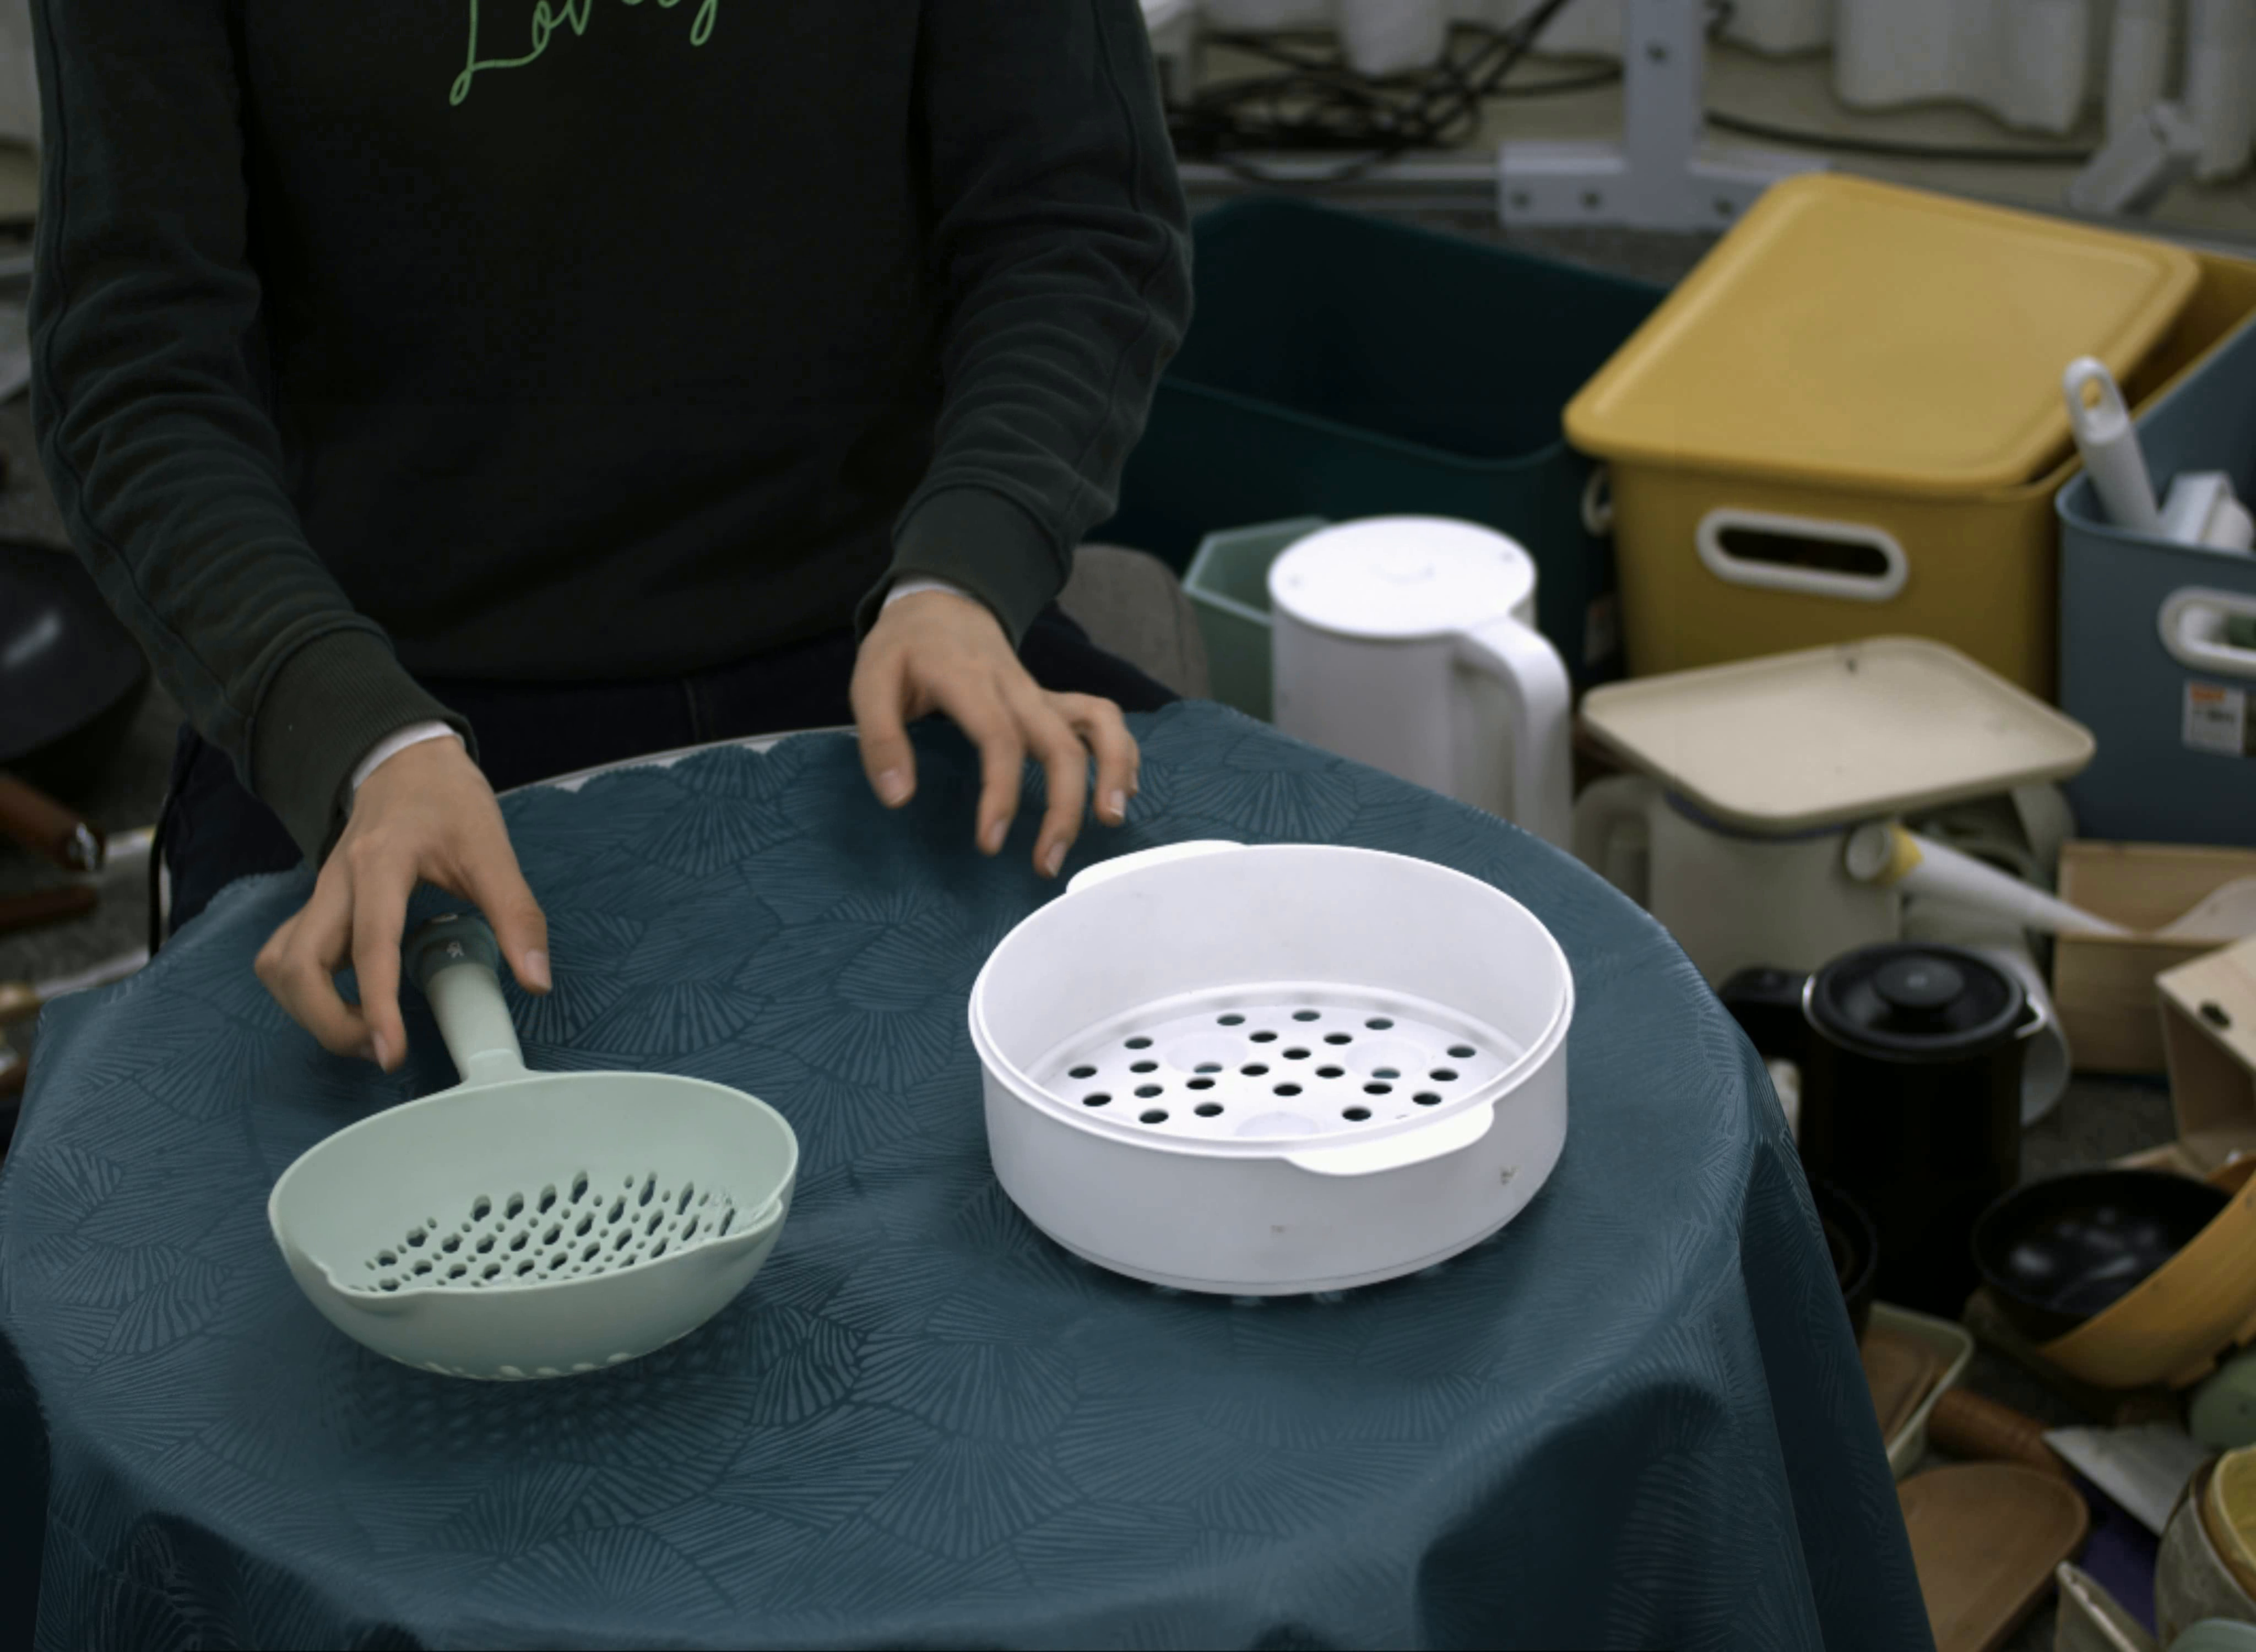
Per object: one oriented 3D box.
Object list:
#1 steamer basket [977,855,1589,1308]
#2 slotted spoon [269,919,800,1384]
[{"bbox_3d":[0.052,0.085,1.857,0.202,0.068,0.232,-12,29,-20],"label":"steamer basket"},{"bbox_3d":[-0.208,0.092,1.869,0.169,0.074,0.363,-8,28,-11],"label":"slotted spoon"}]
